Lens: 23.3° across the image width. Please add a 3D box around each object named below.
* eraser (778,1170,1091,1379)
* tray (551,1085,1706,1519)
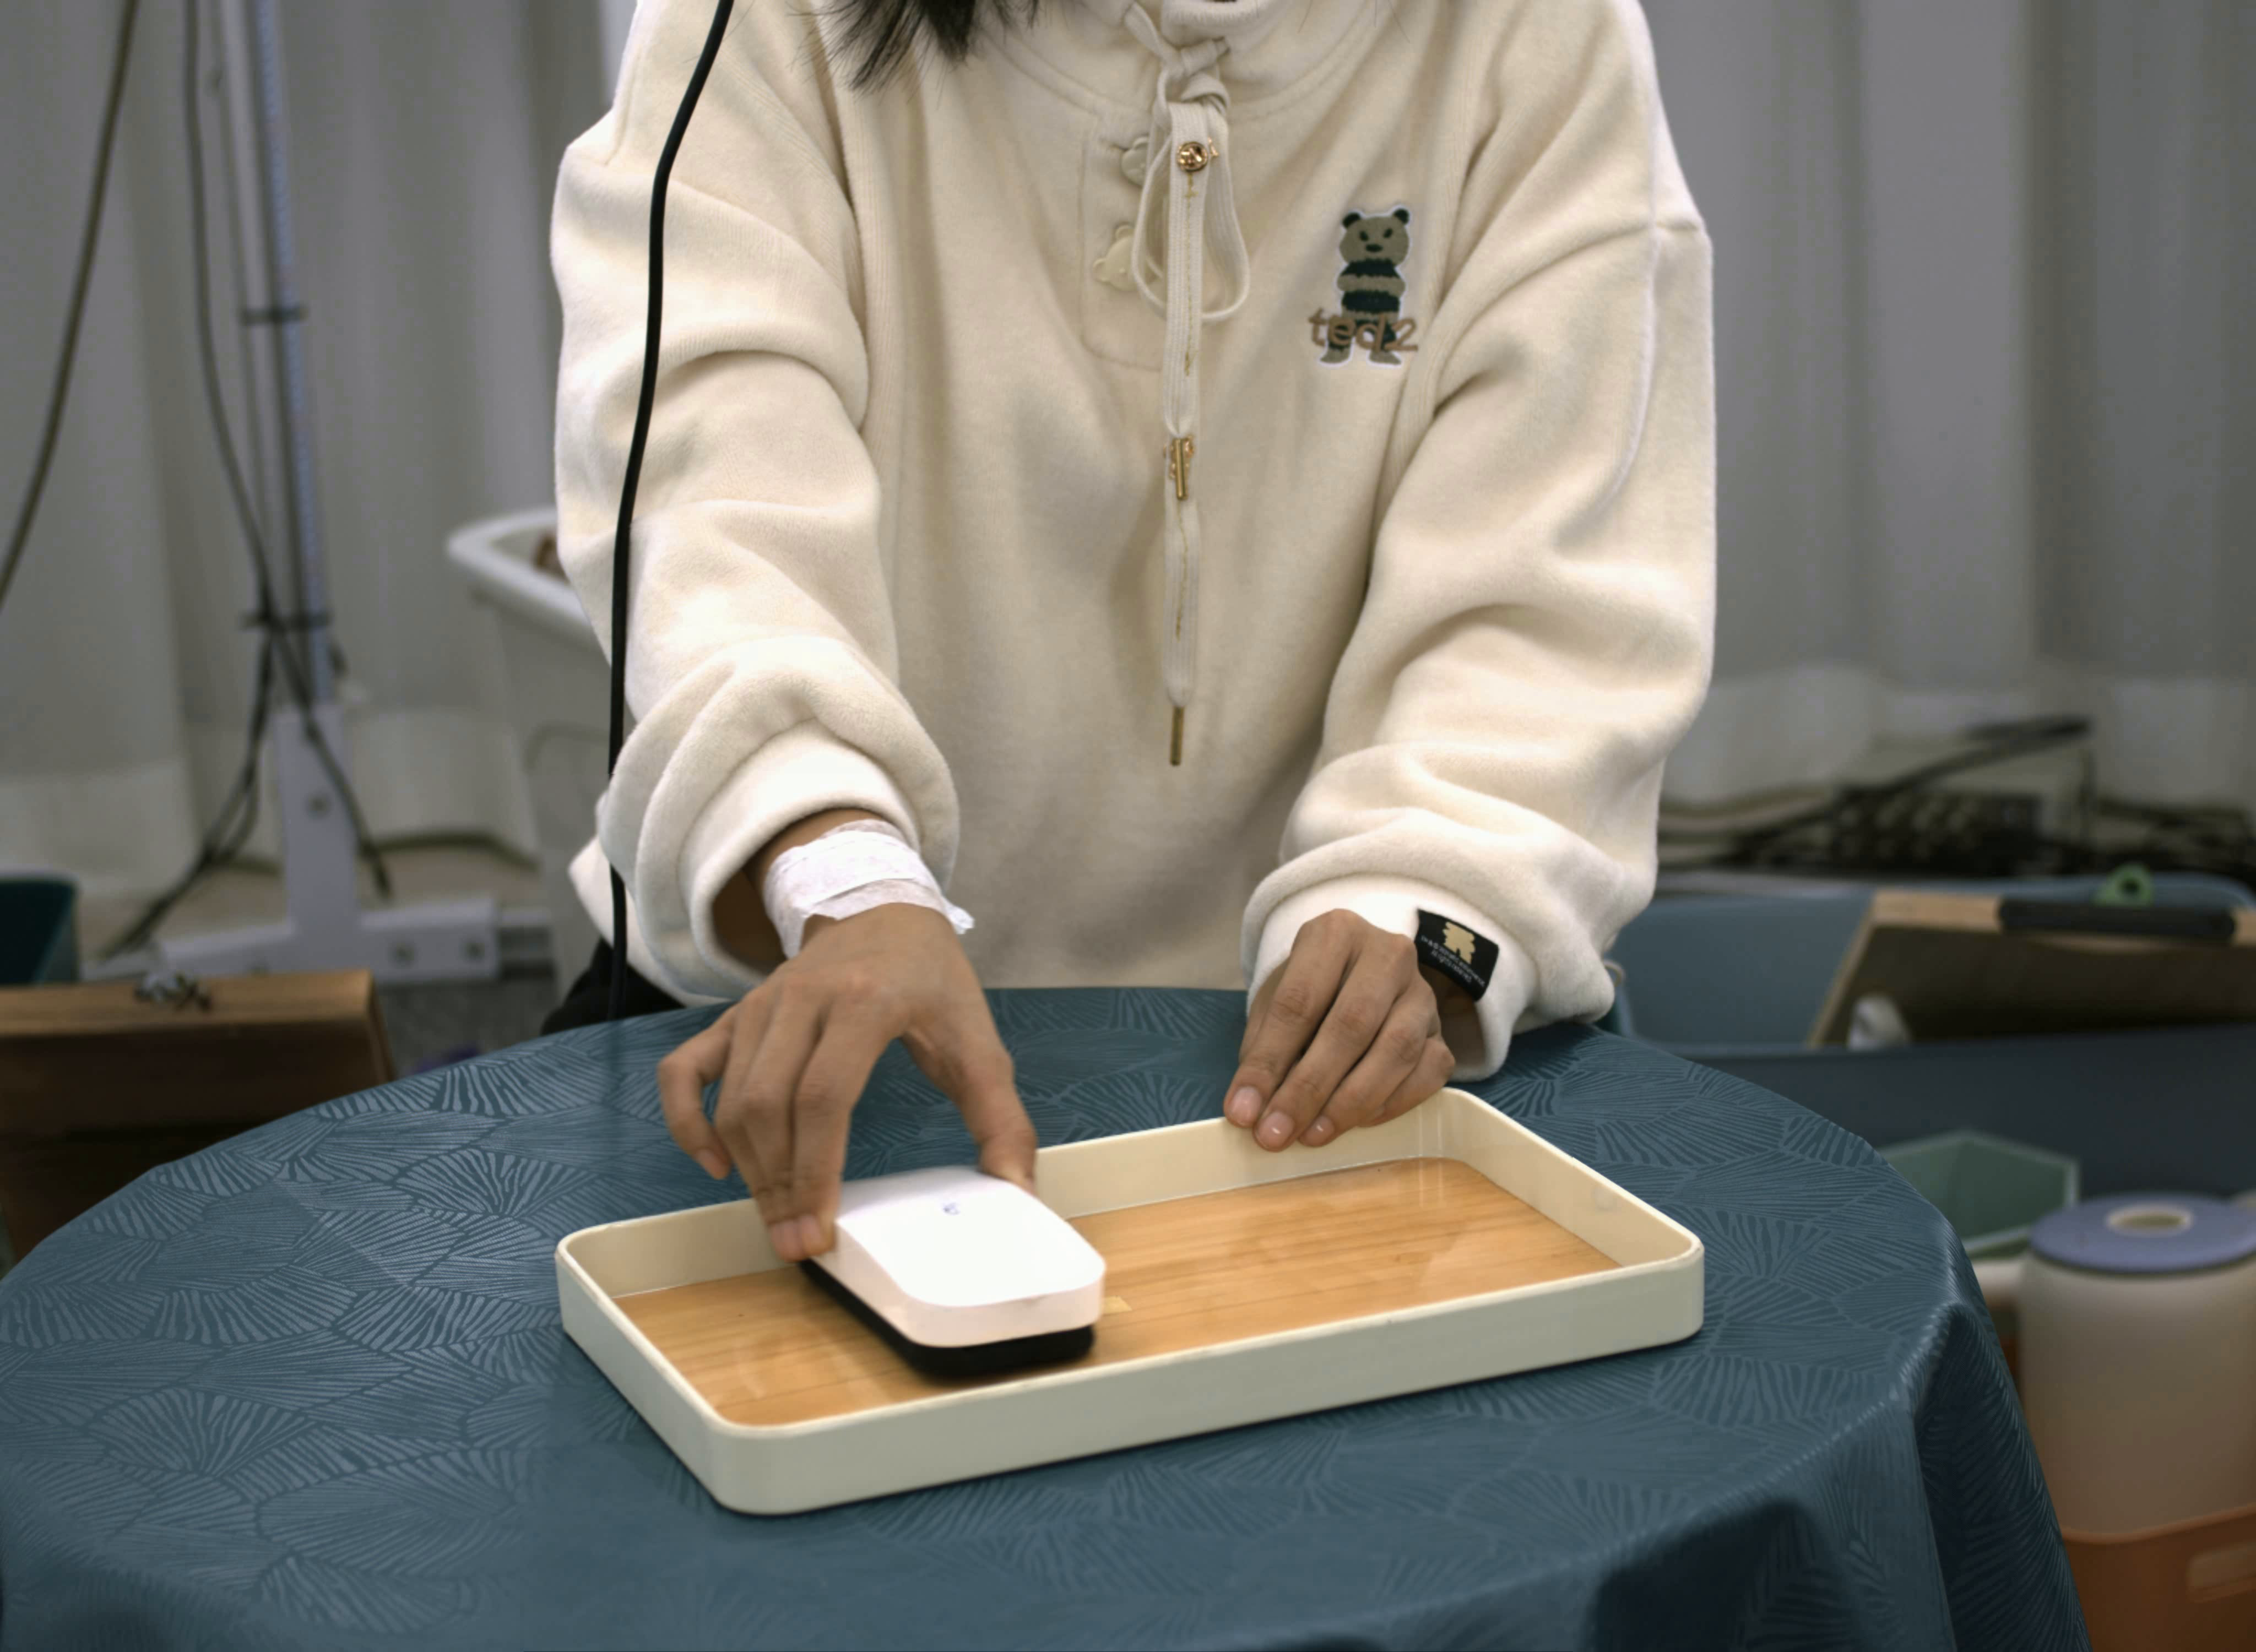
[{"bbox_3d":[-0.056,0.126,1.595,0.063,0.034,0.132,-7,14,-19],"label":"eraser"},{"bbox_3d":[-0.002,0.134,1.589,0.299,0.027,0.193,-8,16,-20],"label":"tray"}]
